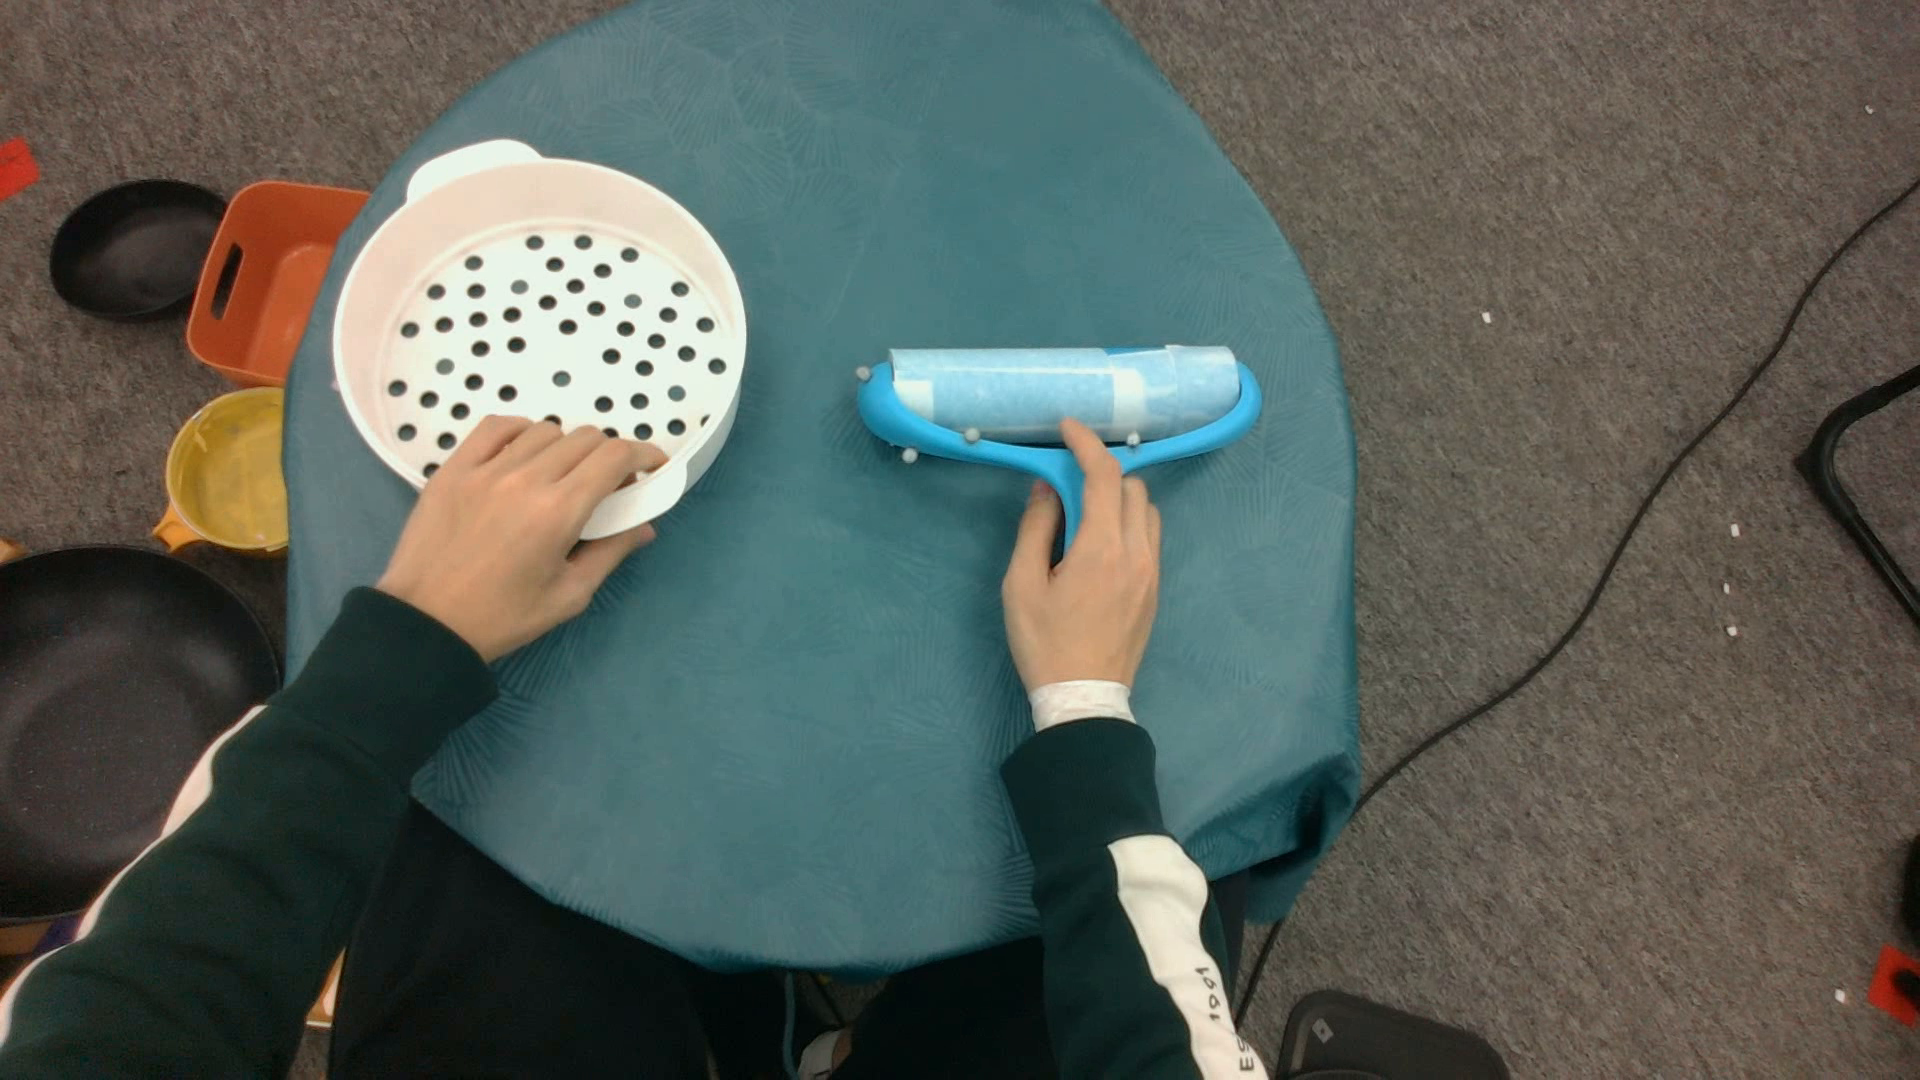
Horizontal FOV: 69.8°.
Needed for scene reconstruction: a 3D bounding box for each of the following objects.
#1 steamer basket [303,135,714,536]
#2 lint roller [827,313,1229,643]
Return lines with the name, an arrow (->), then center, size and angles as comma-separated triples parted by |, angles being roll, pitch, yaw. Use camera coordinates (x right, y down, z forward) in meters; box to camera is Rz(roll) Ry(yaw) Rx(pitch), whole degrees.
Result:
steamer basket -> -0.231, -0.101, 0.727 | 0.202, 0.069, 0.231 | -26, 78, -14
lint roller -> 0.051, -0.038, 0.756 | 0.229, 0.067, 0.180 | -7, 73, -13
